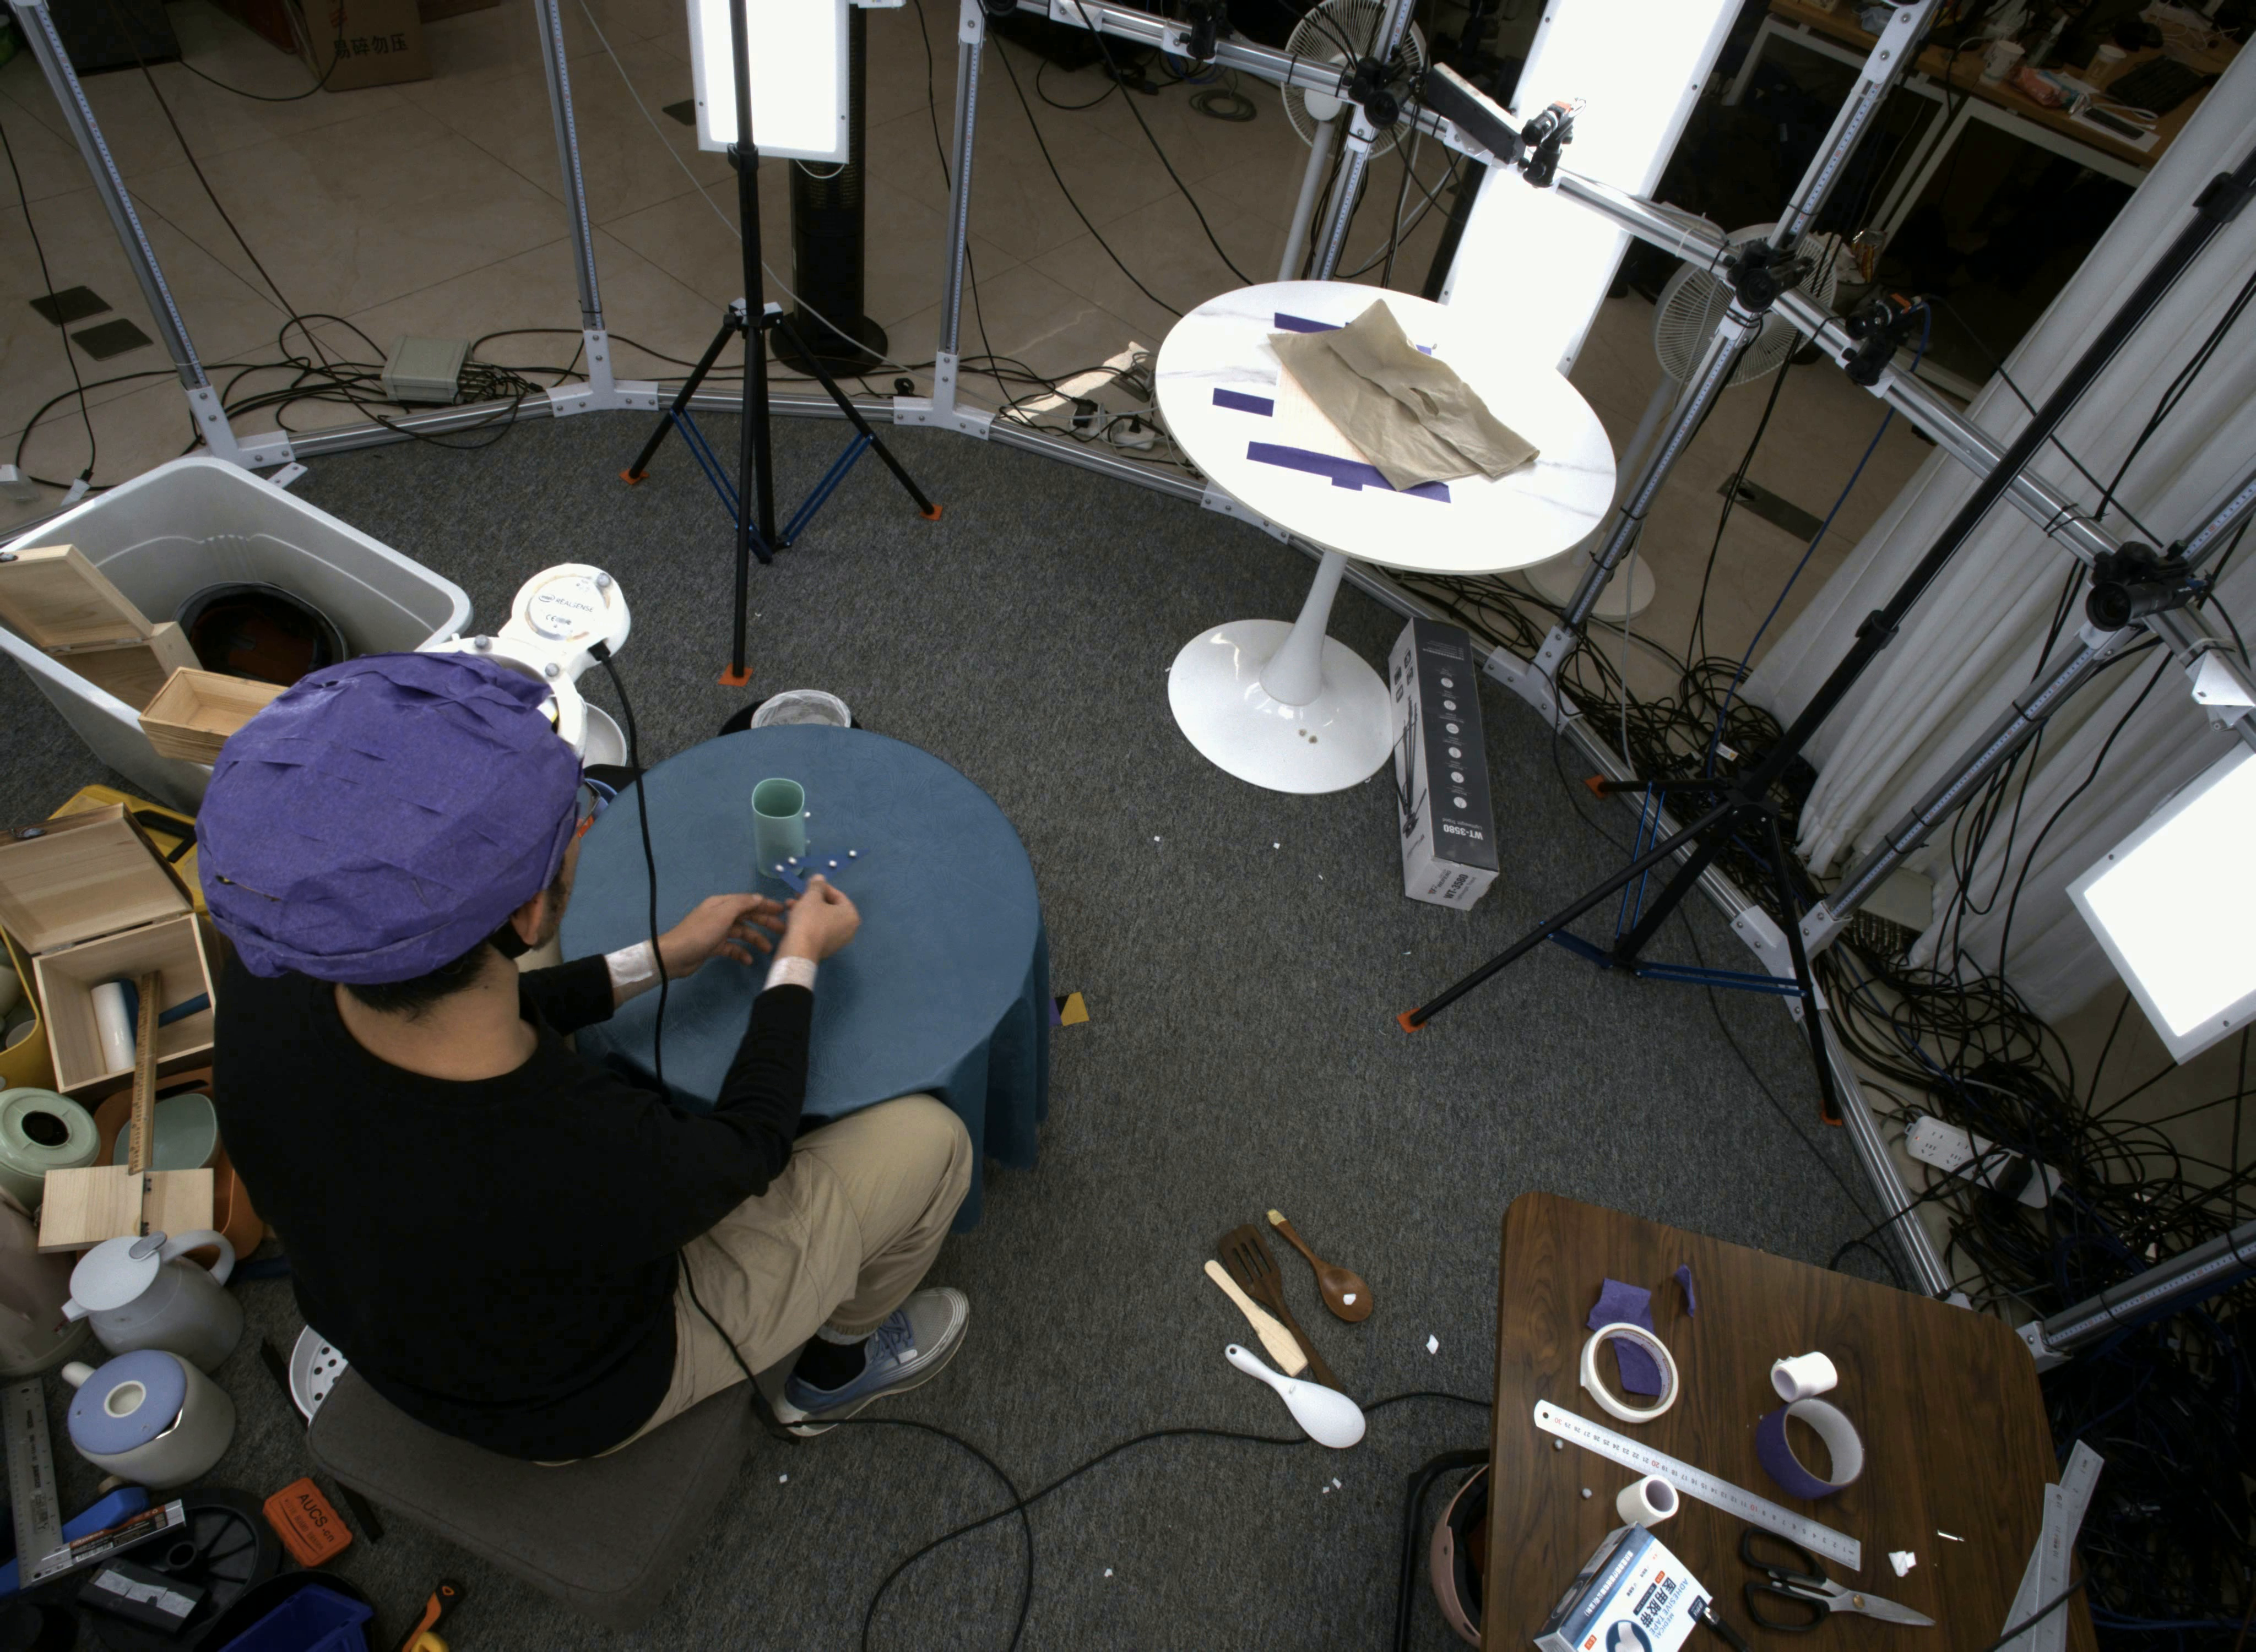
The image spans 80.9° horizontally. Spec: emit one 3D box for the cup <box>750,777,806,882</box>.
[{"bbox_3d":[-0.440,0.006,1.630,0.066,0.135,0.065,7,51,-7],"label":"cup"}]

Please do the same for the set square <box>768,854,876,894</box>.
[{"bbox_3d":[-0.369,0.057,1.587,0.133,0.006,0.059,-1,49,-29],"label":"set square"}]
